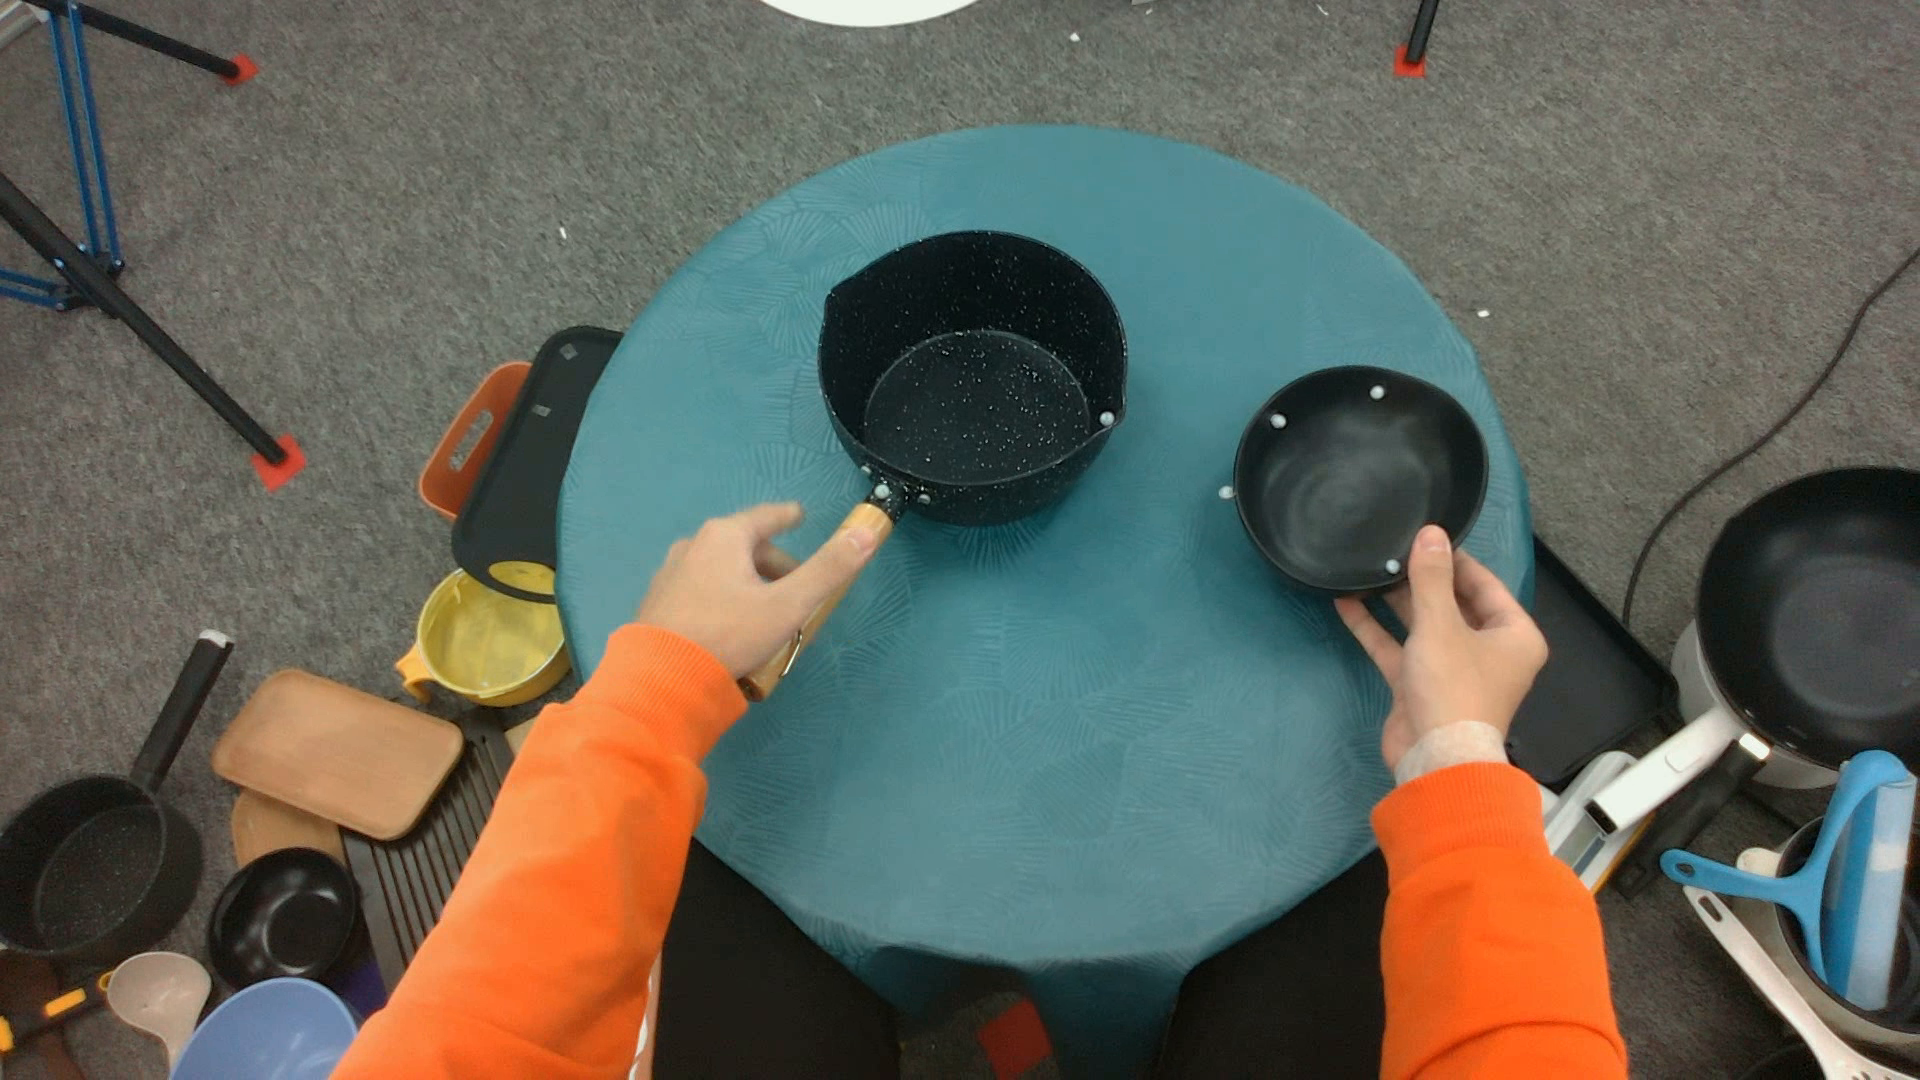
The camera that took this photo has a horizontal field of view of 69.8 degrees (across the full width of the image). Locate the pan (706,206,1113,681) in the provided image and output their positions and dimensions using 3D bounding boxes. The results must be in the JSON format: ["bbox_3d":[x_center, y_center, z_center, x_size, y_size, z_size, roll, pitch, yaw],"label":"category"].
[{"bbox_3d":[-0.038,-0.046,0.805,0.207,0.108,0.344,24,65,12],"label":"pan"}]

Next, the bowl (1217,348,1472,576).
[{"bbox_3d":[0.222,-0.040,0.815,0.137,0.066,0.171,31,64,17],"label":"bowl"}]
